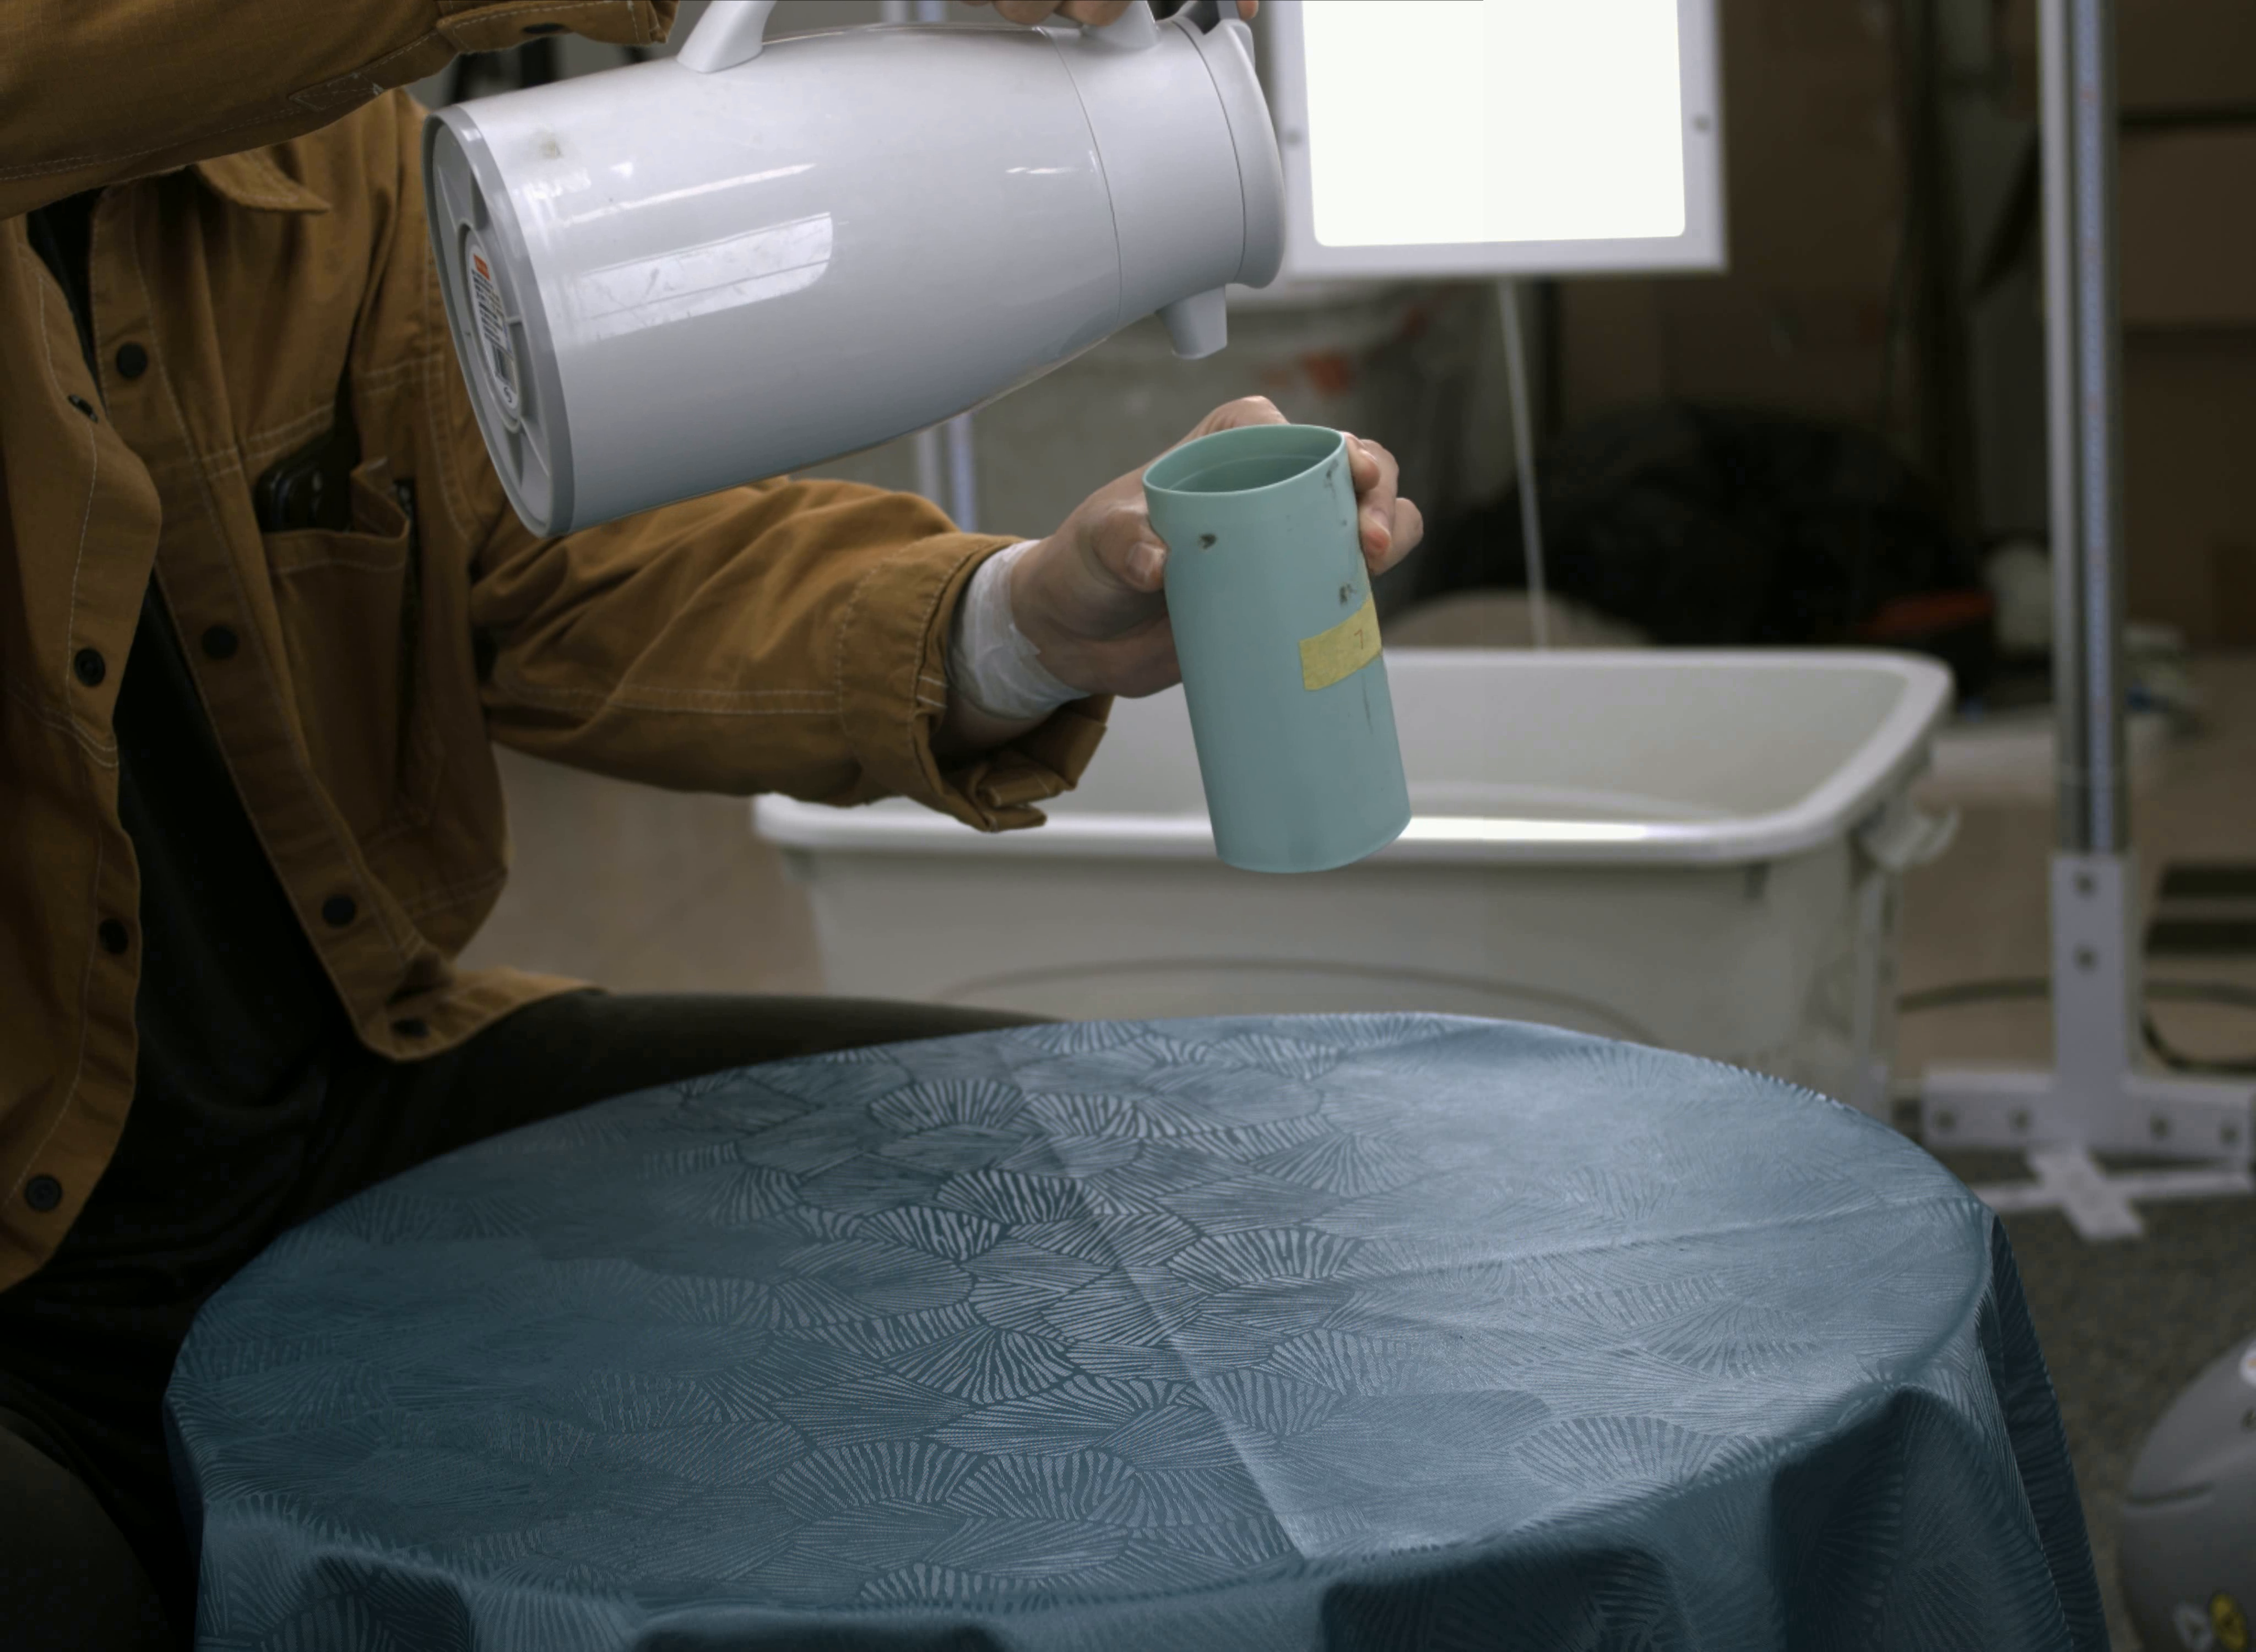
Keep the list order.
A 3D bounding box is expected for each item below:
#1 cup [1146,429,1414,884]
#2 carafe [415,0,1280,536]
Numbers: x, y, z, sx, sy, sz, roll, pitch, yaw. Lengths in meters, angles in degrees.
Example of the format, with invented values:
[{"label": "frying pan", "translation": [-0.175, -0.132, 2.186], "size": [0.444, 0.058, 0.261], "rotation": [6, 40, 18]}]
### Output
[{"label": "cup", "translation": [0.048, -0.054, 1.751], "size": [0.067, 0.132, 0.066], "rotation": [-10, 21, 3]}, {"label": "carafe", "translation": [-0.080, -0.197, 1.661], "size": [0.245, 0.168, 0.134], "rotation": [-15, 26, -12]}]
